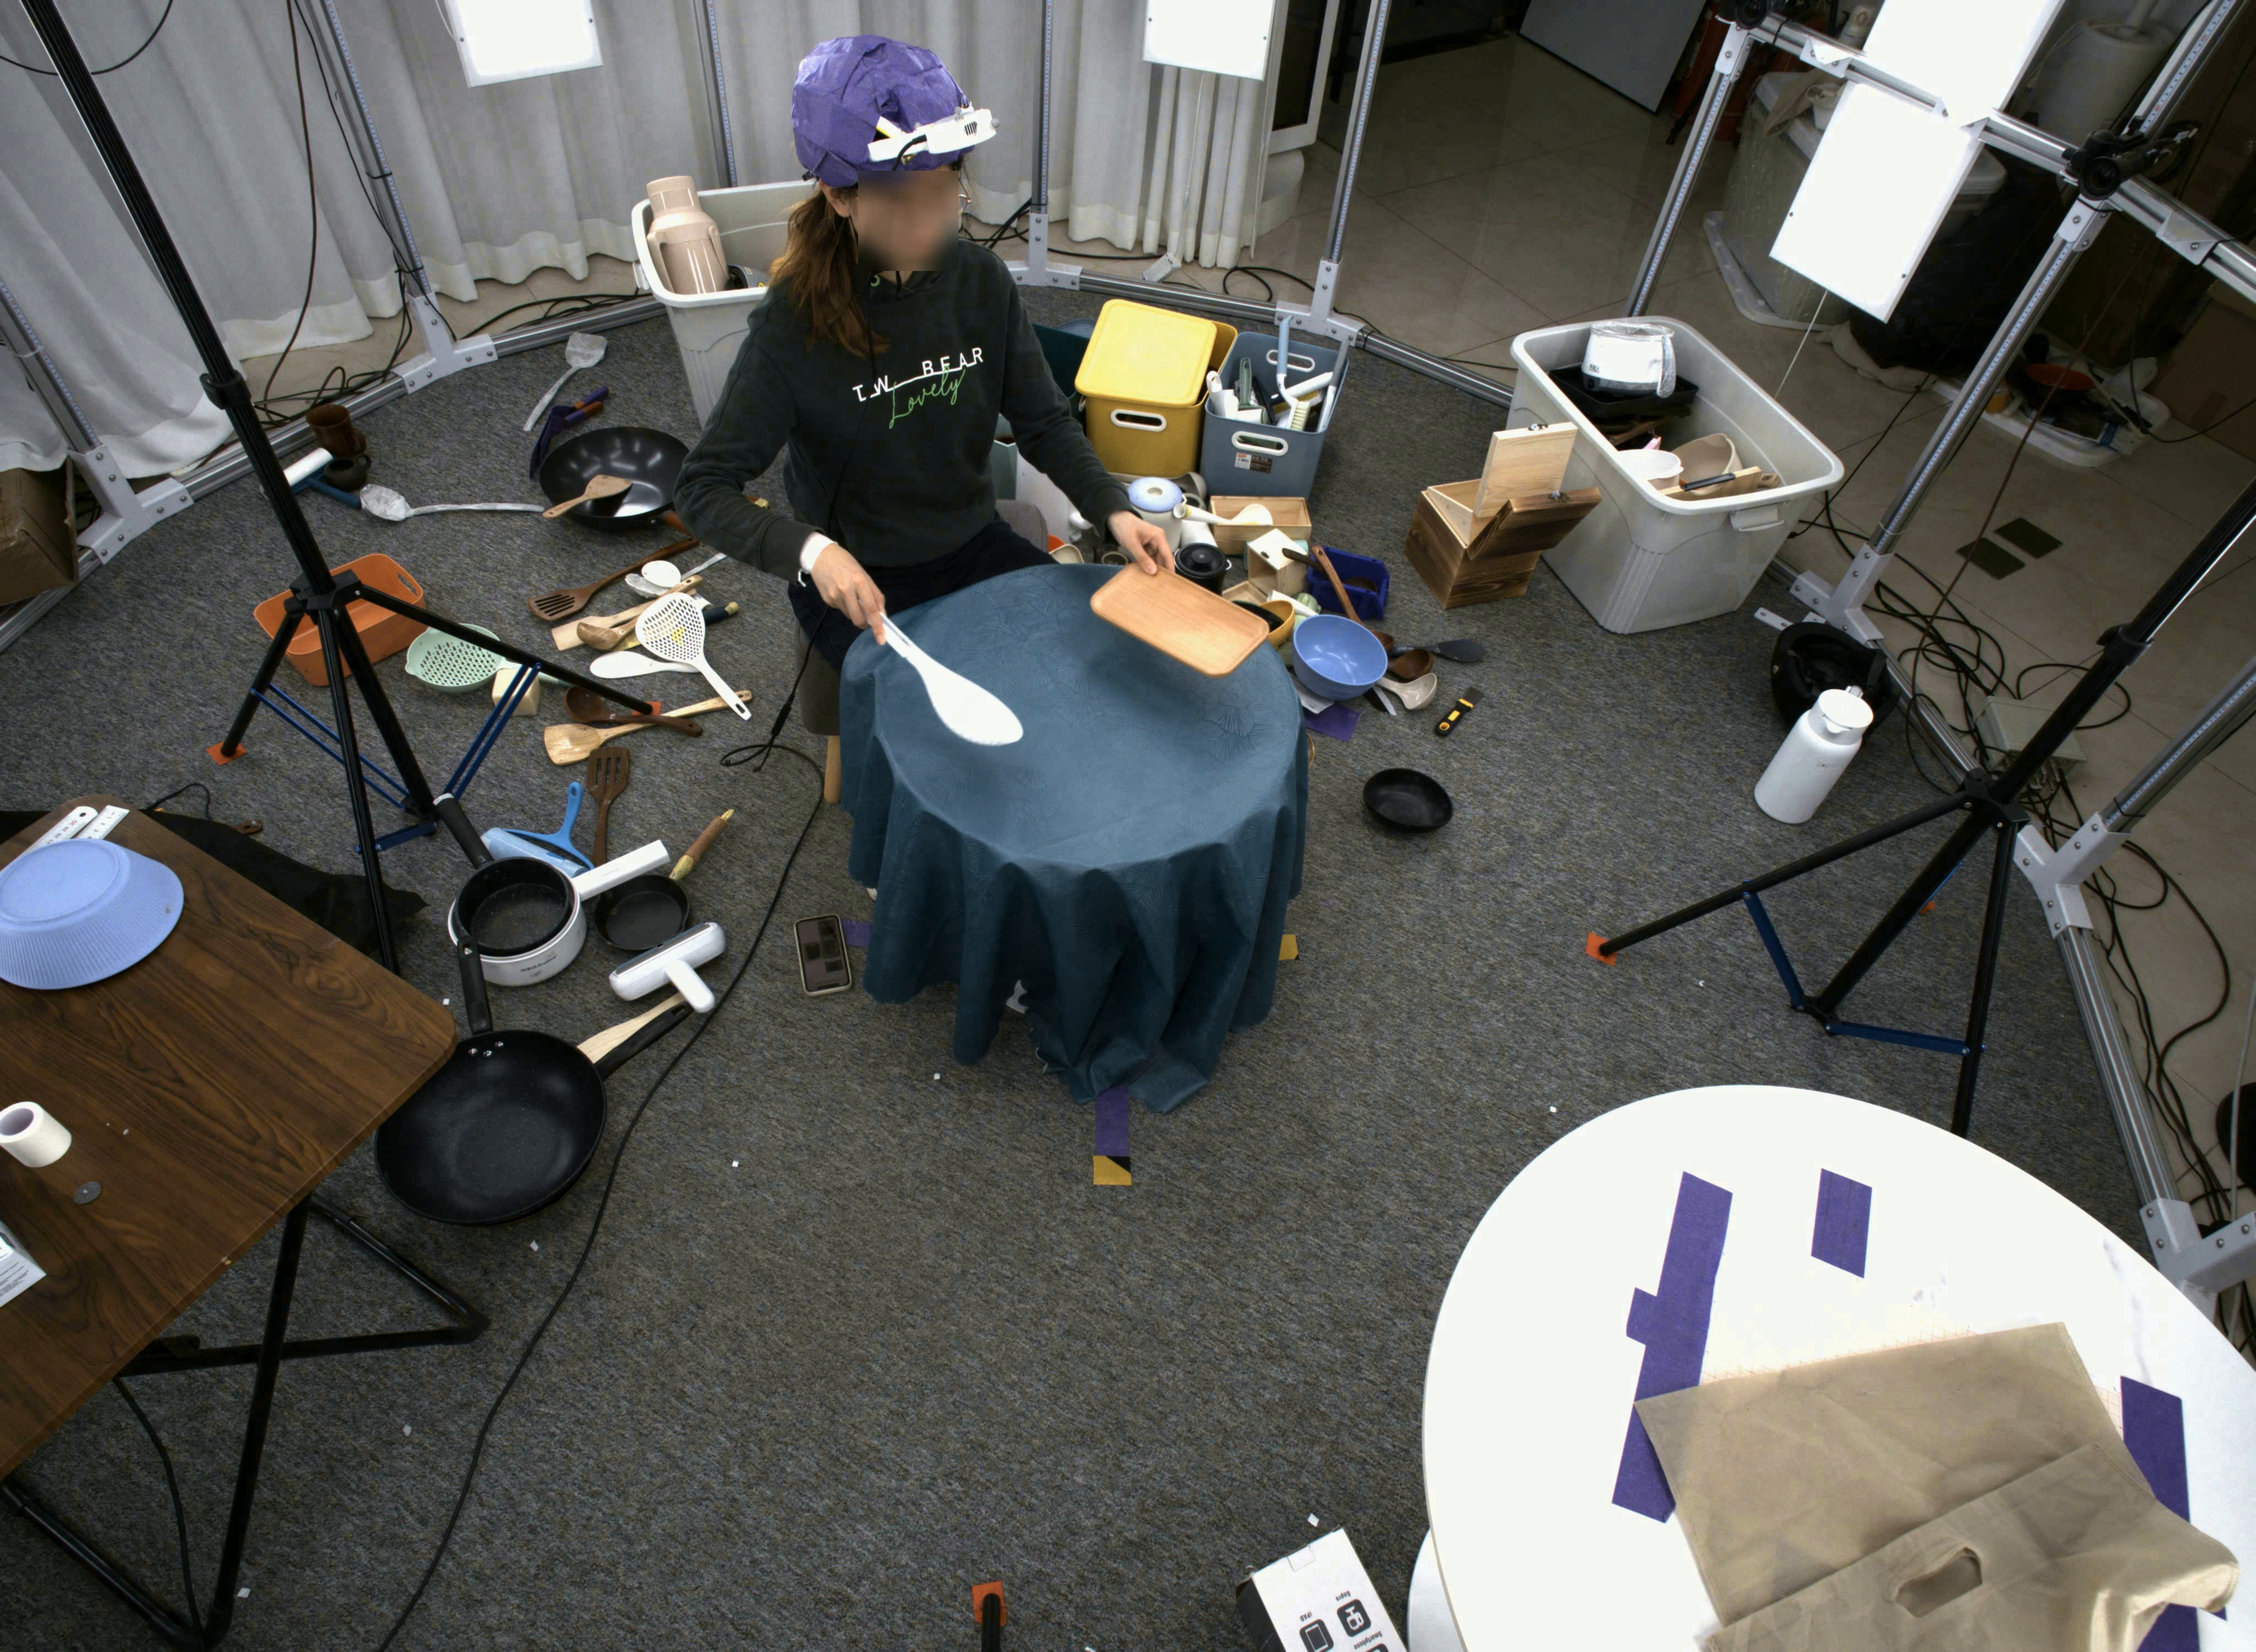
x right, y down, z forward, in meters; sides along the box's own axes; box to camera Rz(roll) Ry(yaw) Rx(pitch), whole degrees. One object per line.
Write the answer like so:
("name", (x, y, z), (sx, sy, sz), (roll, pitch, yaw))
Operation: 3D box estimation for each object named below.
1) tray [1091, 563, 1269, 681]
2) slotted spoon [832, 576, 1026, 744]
("tray", (0.072, -0.289, 1.810), (0.254, 0.022, 0.132), (32, 60, 29))
("slotted spoon", (-0.267, -0.217, 1.674), (0.354, 0.045, 0.136), (47, 23, 18))
